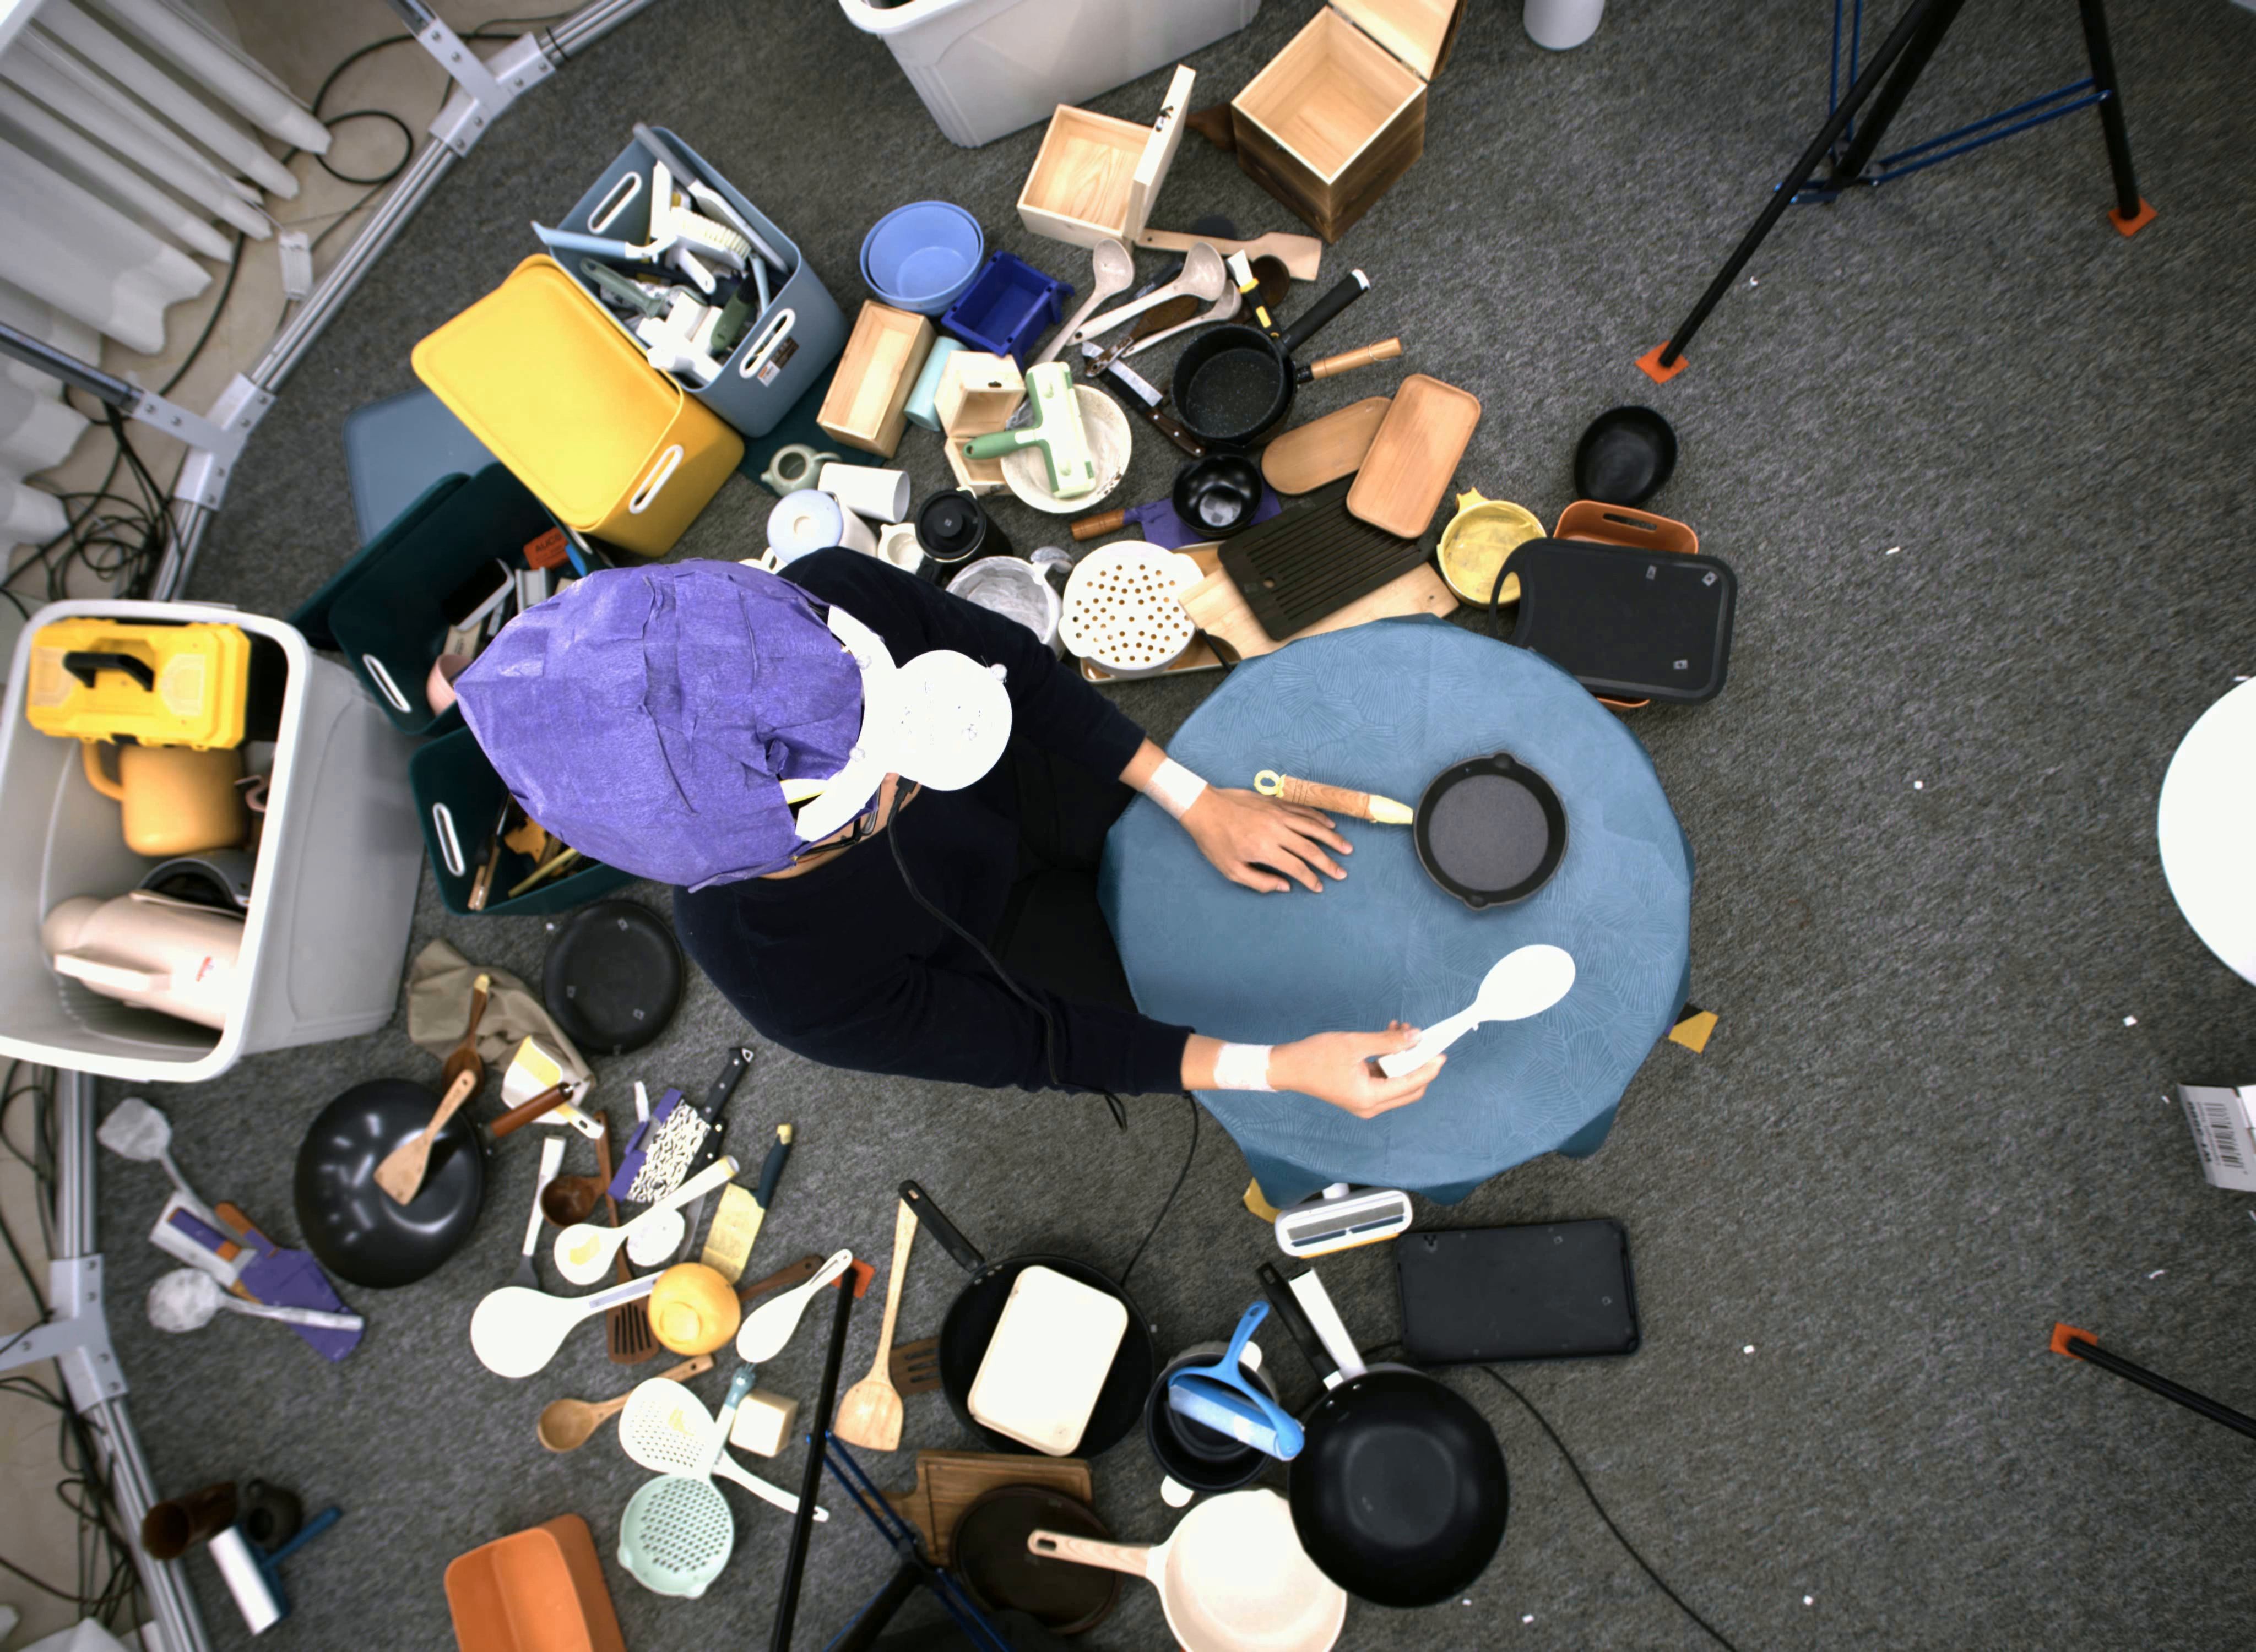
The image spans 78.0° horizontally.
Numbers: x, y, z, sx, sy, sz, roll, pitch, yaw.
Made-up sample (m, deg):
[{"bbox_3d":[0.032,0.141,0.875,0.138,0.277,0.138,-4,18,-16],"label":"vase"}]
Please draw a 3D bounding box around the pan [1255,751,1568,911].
[{"bbox_3d":[0.293,-0.016,1.435,0.324,0.049,0.168,13,89,10],"label":"pan"}]

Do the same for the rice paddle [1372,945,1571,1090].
[{"bbox_3d":[0.319,0.173,1.274,0.205,0.030,0.067,-33,50,2],"label":"rice paddle"}]
